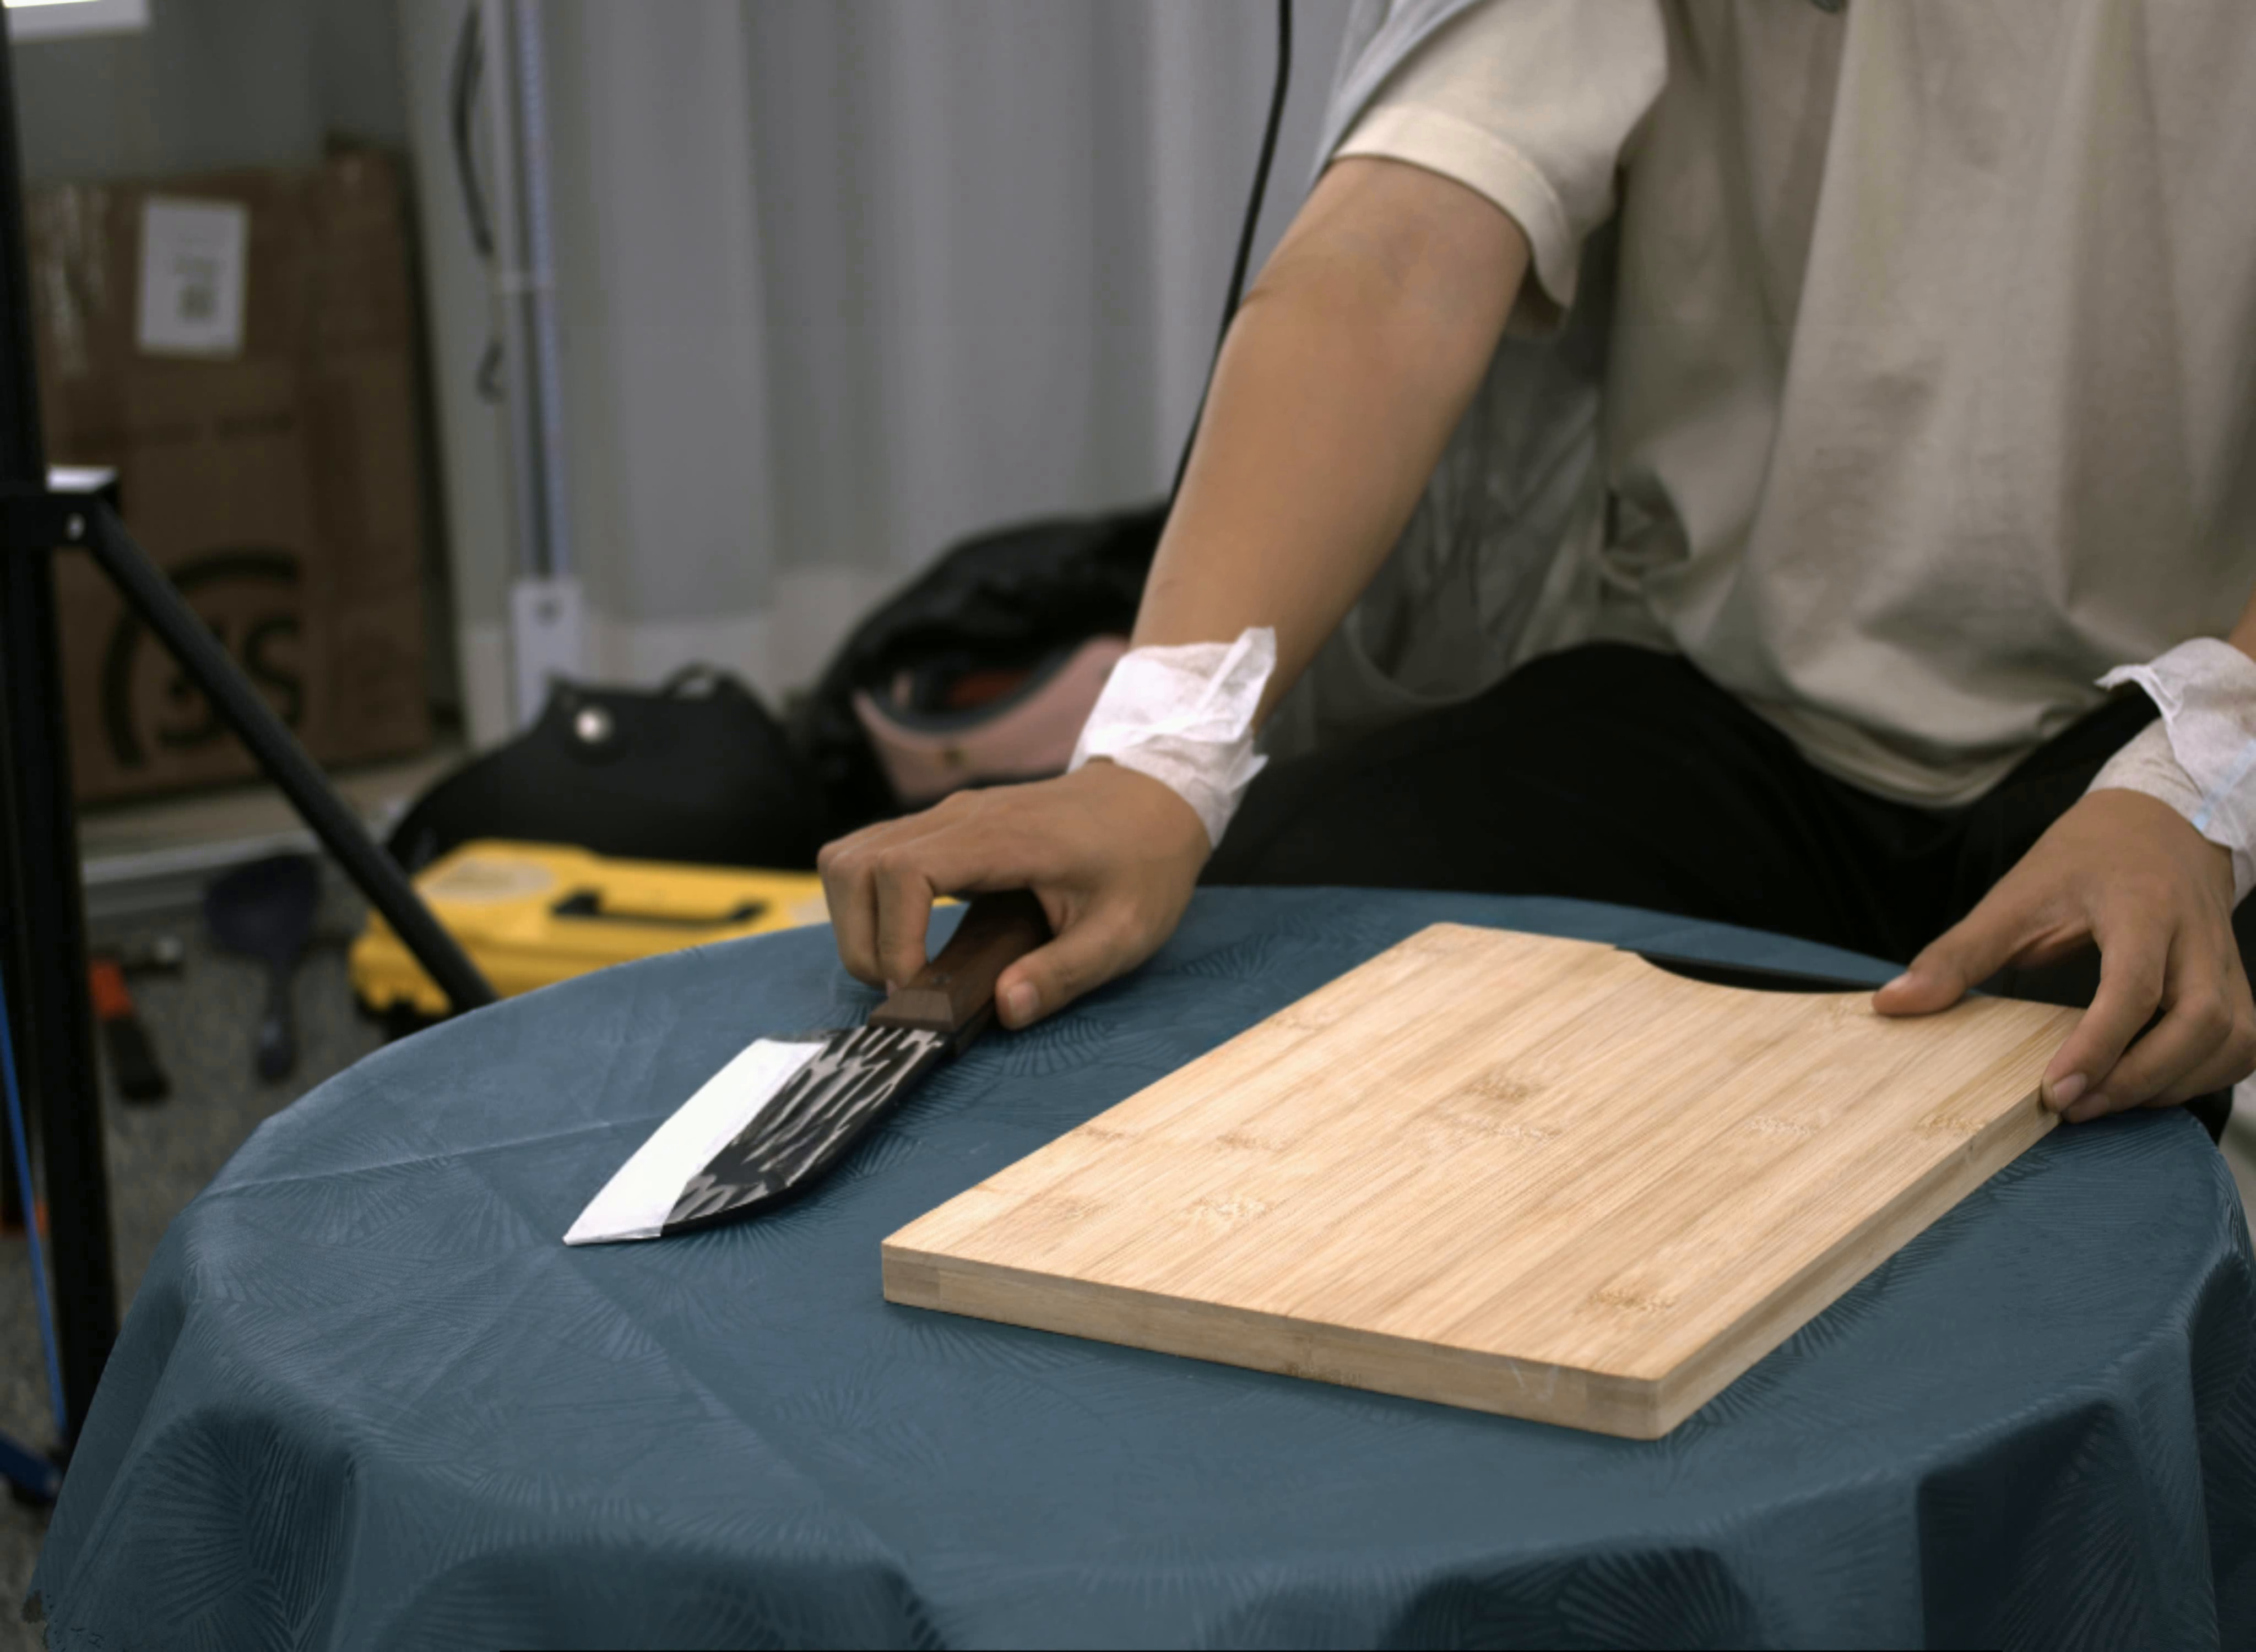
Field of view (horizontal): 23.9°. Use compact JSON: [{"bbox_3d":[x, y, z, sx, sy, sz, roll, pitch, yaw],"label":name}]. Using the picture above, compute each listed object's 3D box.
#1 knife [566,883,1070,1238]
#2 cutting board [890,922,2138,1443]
[{"bbox_3d":[-0.092,0.073,1.659,0.069,0.024,0.296,0,18,20],"label":"knife"},{"bbox_3d":[0.122,0.095,1.553,0.255,0.023,0.342,7,18,30],"label":"cutting board"}]
